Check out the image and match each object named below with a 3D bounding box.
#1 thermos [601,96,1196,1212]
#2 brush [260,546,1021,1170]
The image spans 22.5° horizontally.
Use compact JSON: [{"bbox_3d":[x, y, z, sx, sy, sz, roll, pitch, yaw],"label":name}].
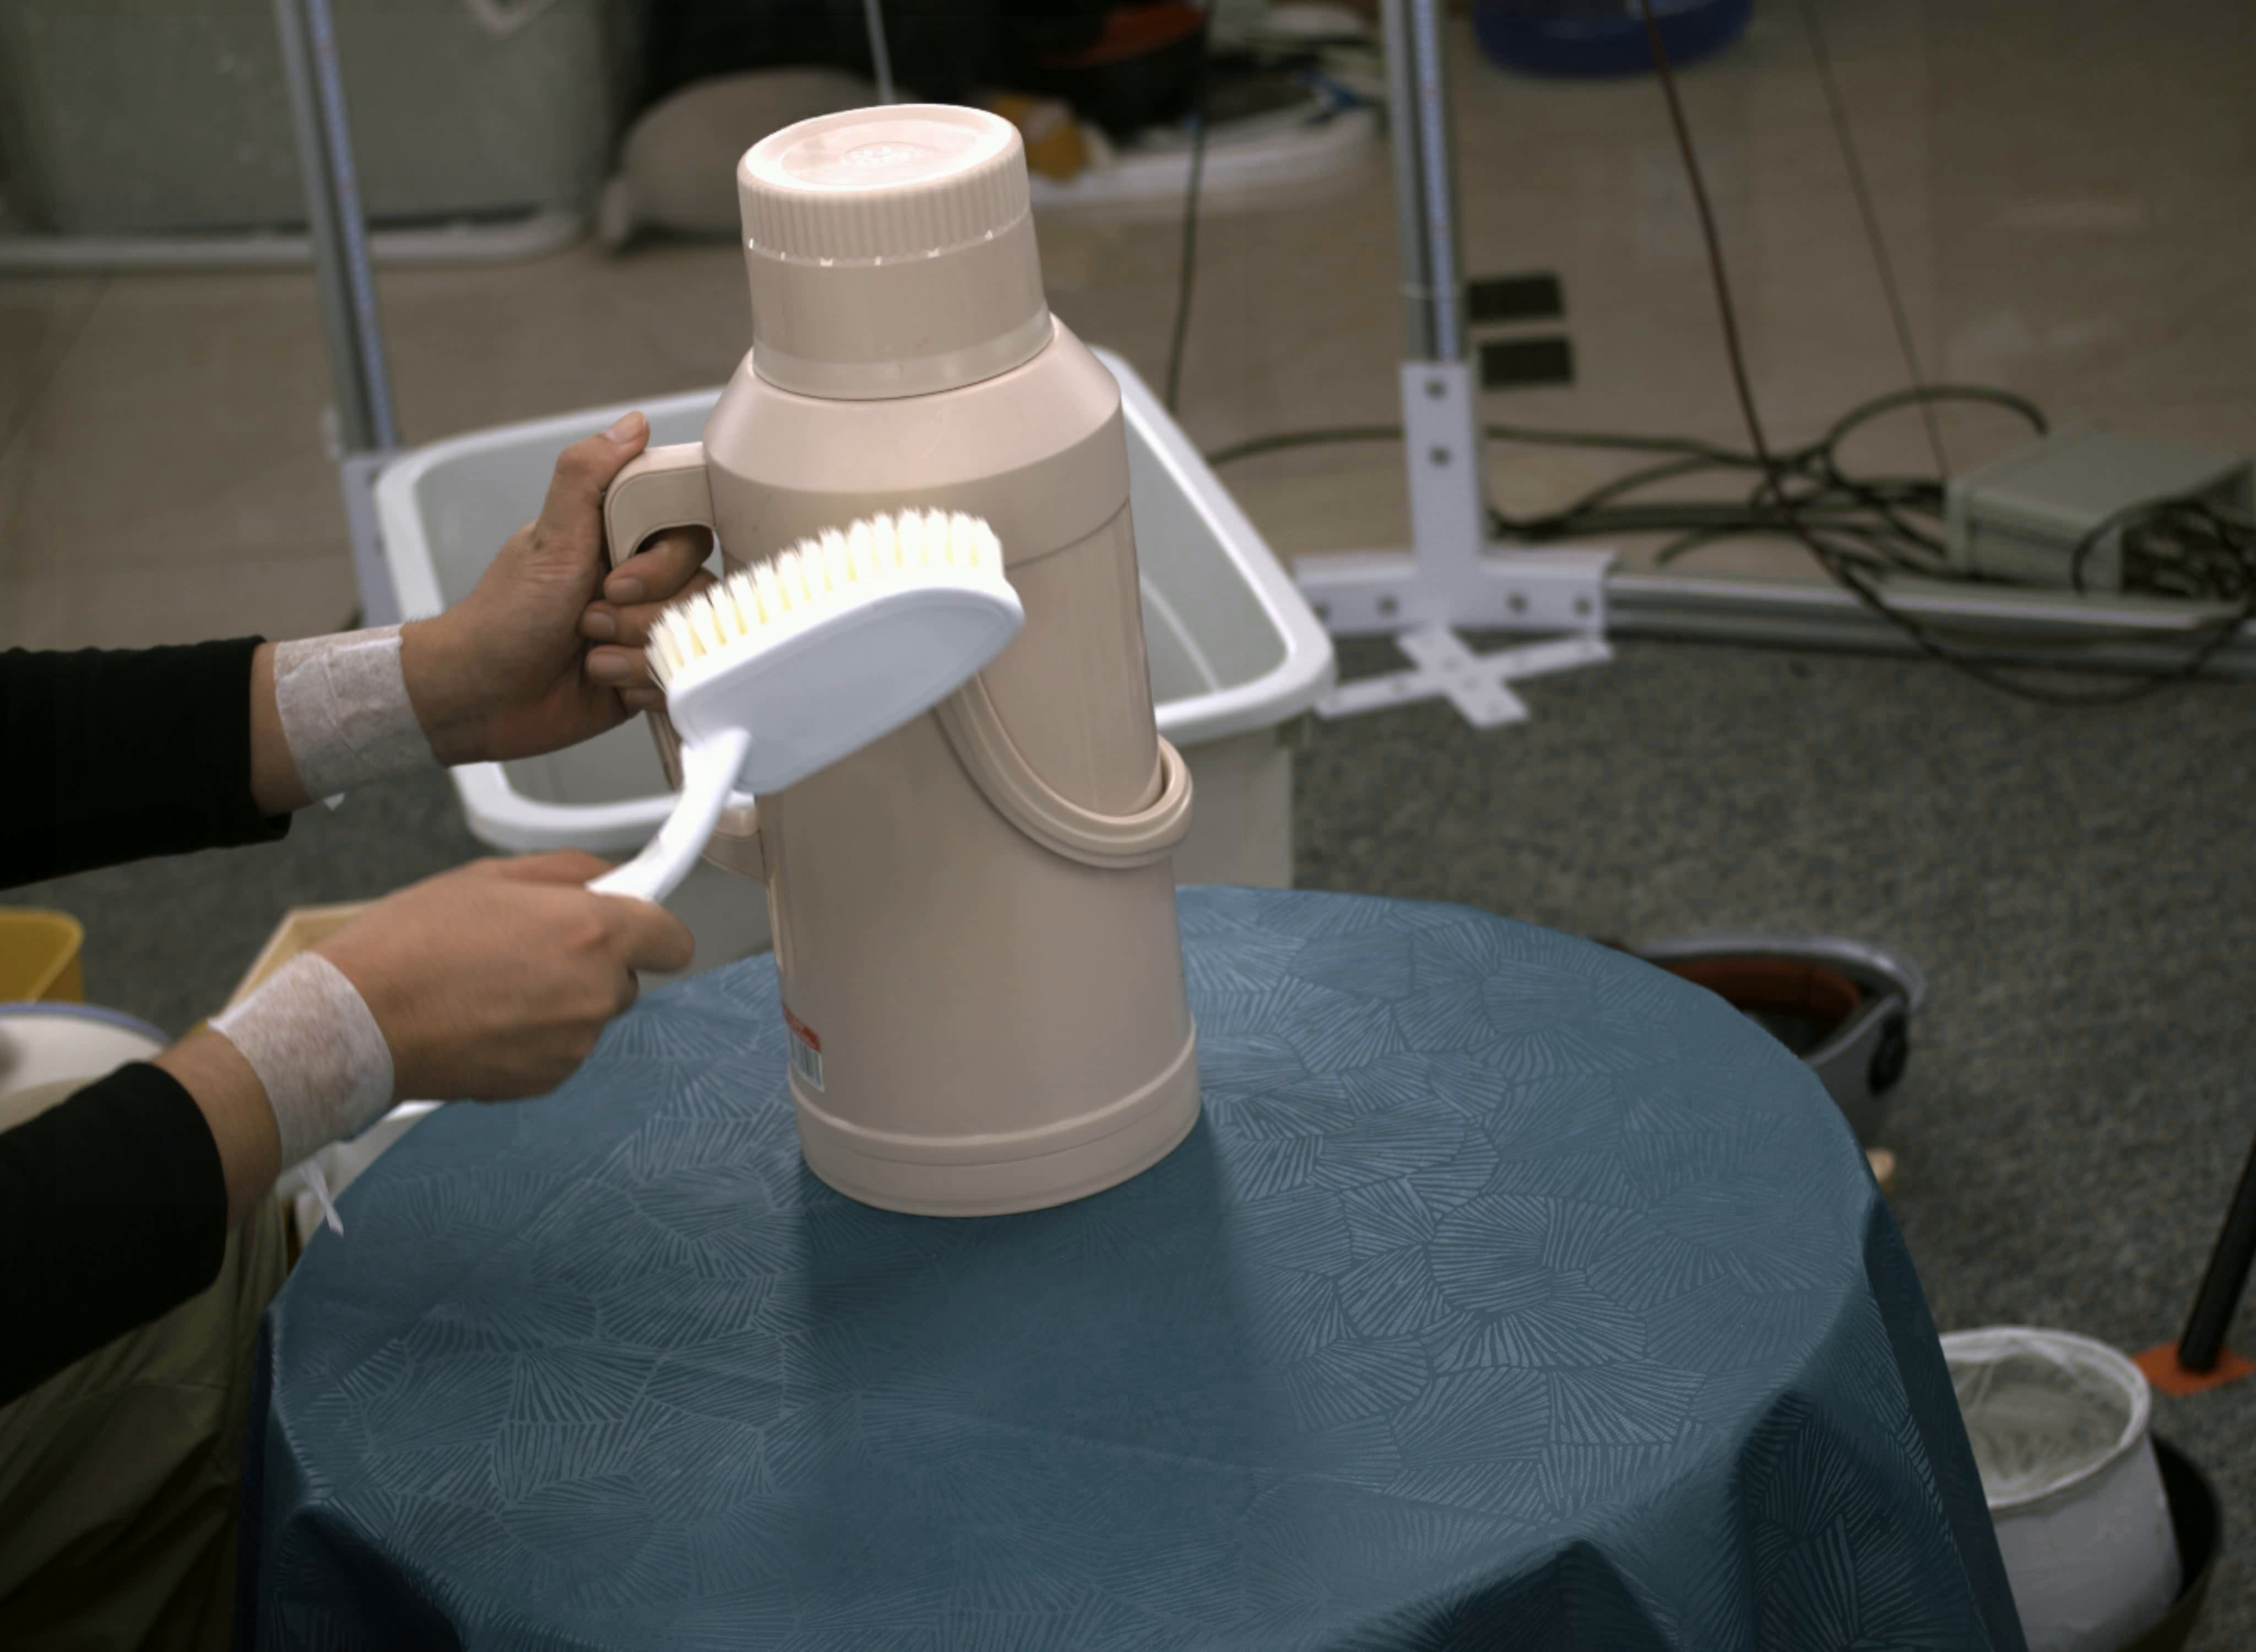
[{"bbox_3d":[-0.085,-0.064,2.127,0.206,0.413,0.172,-7,27,-1],"label":"thermos"},{"bbox_3d":[-0.182,0.000,1.989,0.325,0.083,0.084,-36,10,4],"label":"brush"}]
